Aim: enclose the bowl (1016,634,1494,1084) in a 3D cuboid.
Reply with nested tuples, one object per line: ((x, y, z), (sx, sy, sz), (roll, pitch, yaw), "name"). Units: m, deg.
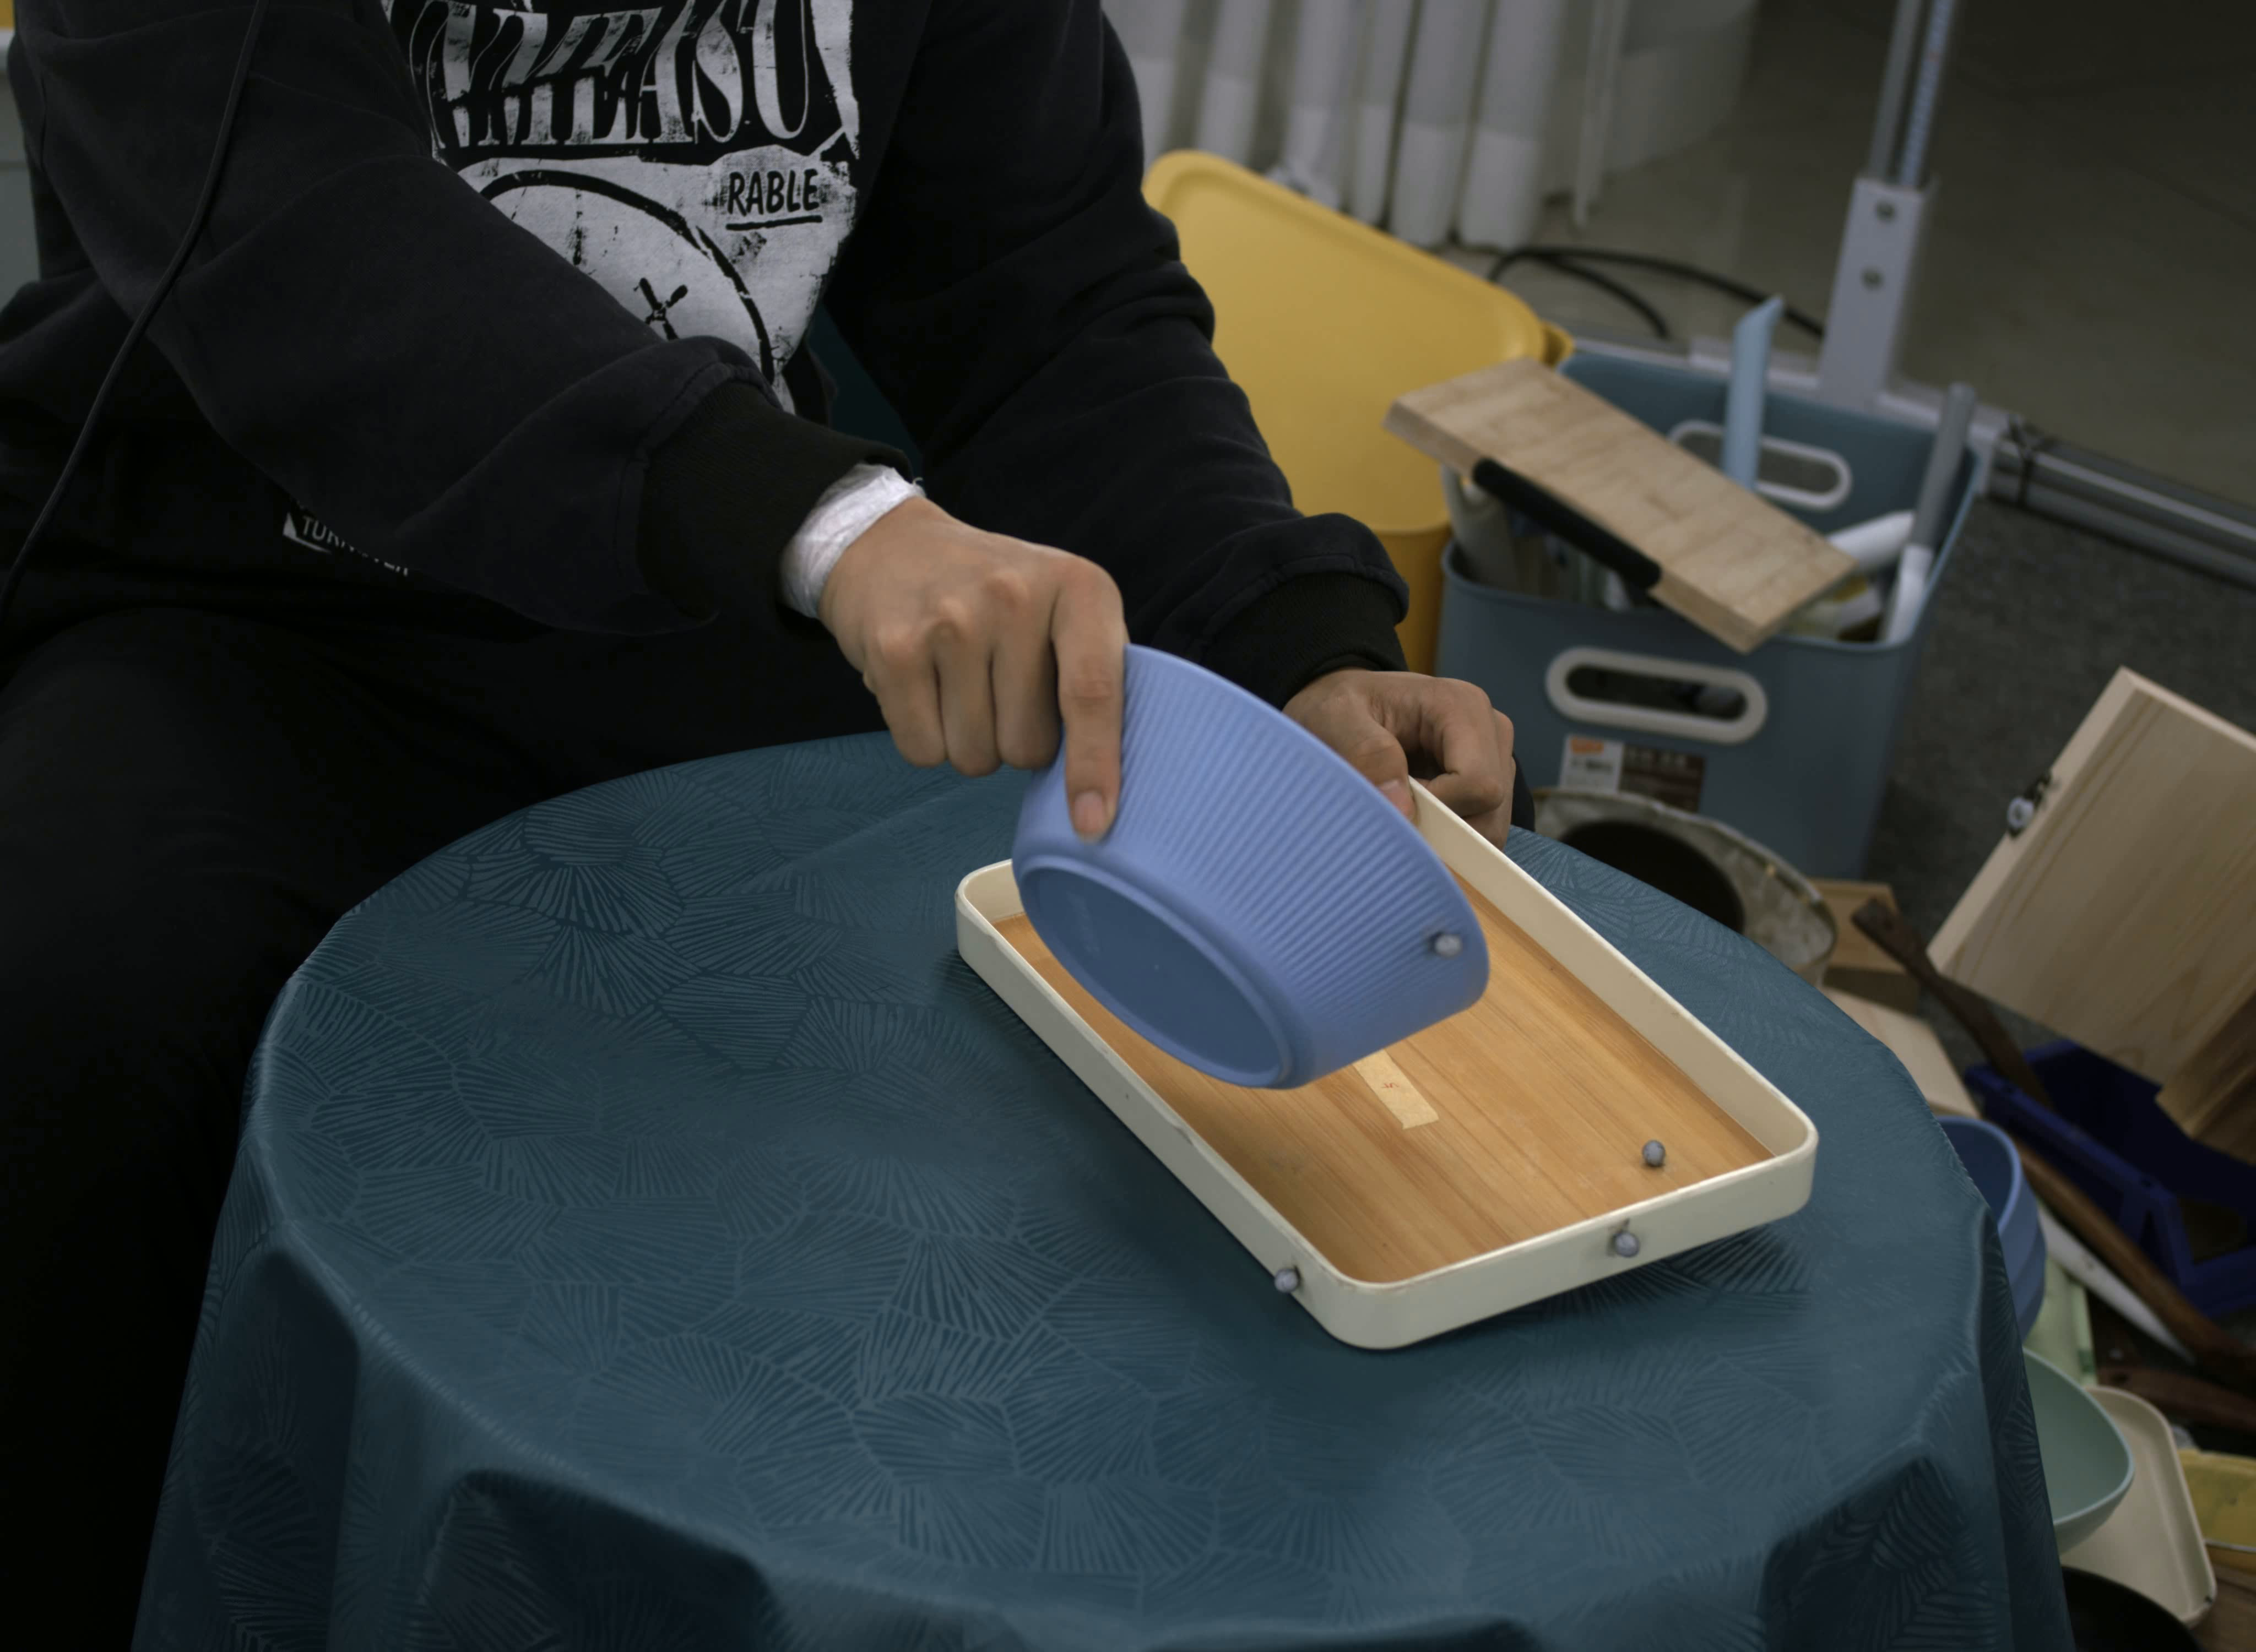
((0.029, 0.022, 1.726), (0.177, 0.174, 0.070), (26, 65, 33), "bowl")

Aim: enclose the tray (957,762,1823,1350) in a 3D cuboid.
((0.086, 0.074, 1.863), (0.190, 0.027, 0.303), (-16, 34, -23), "tray")
